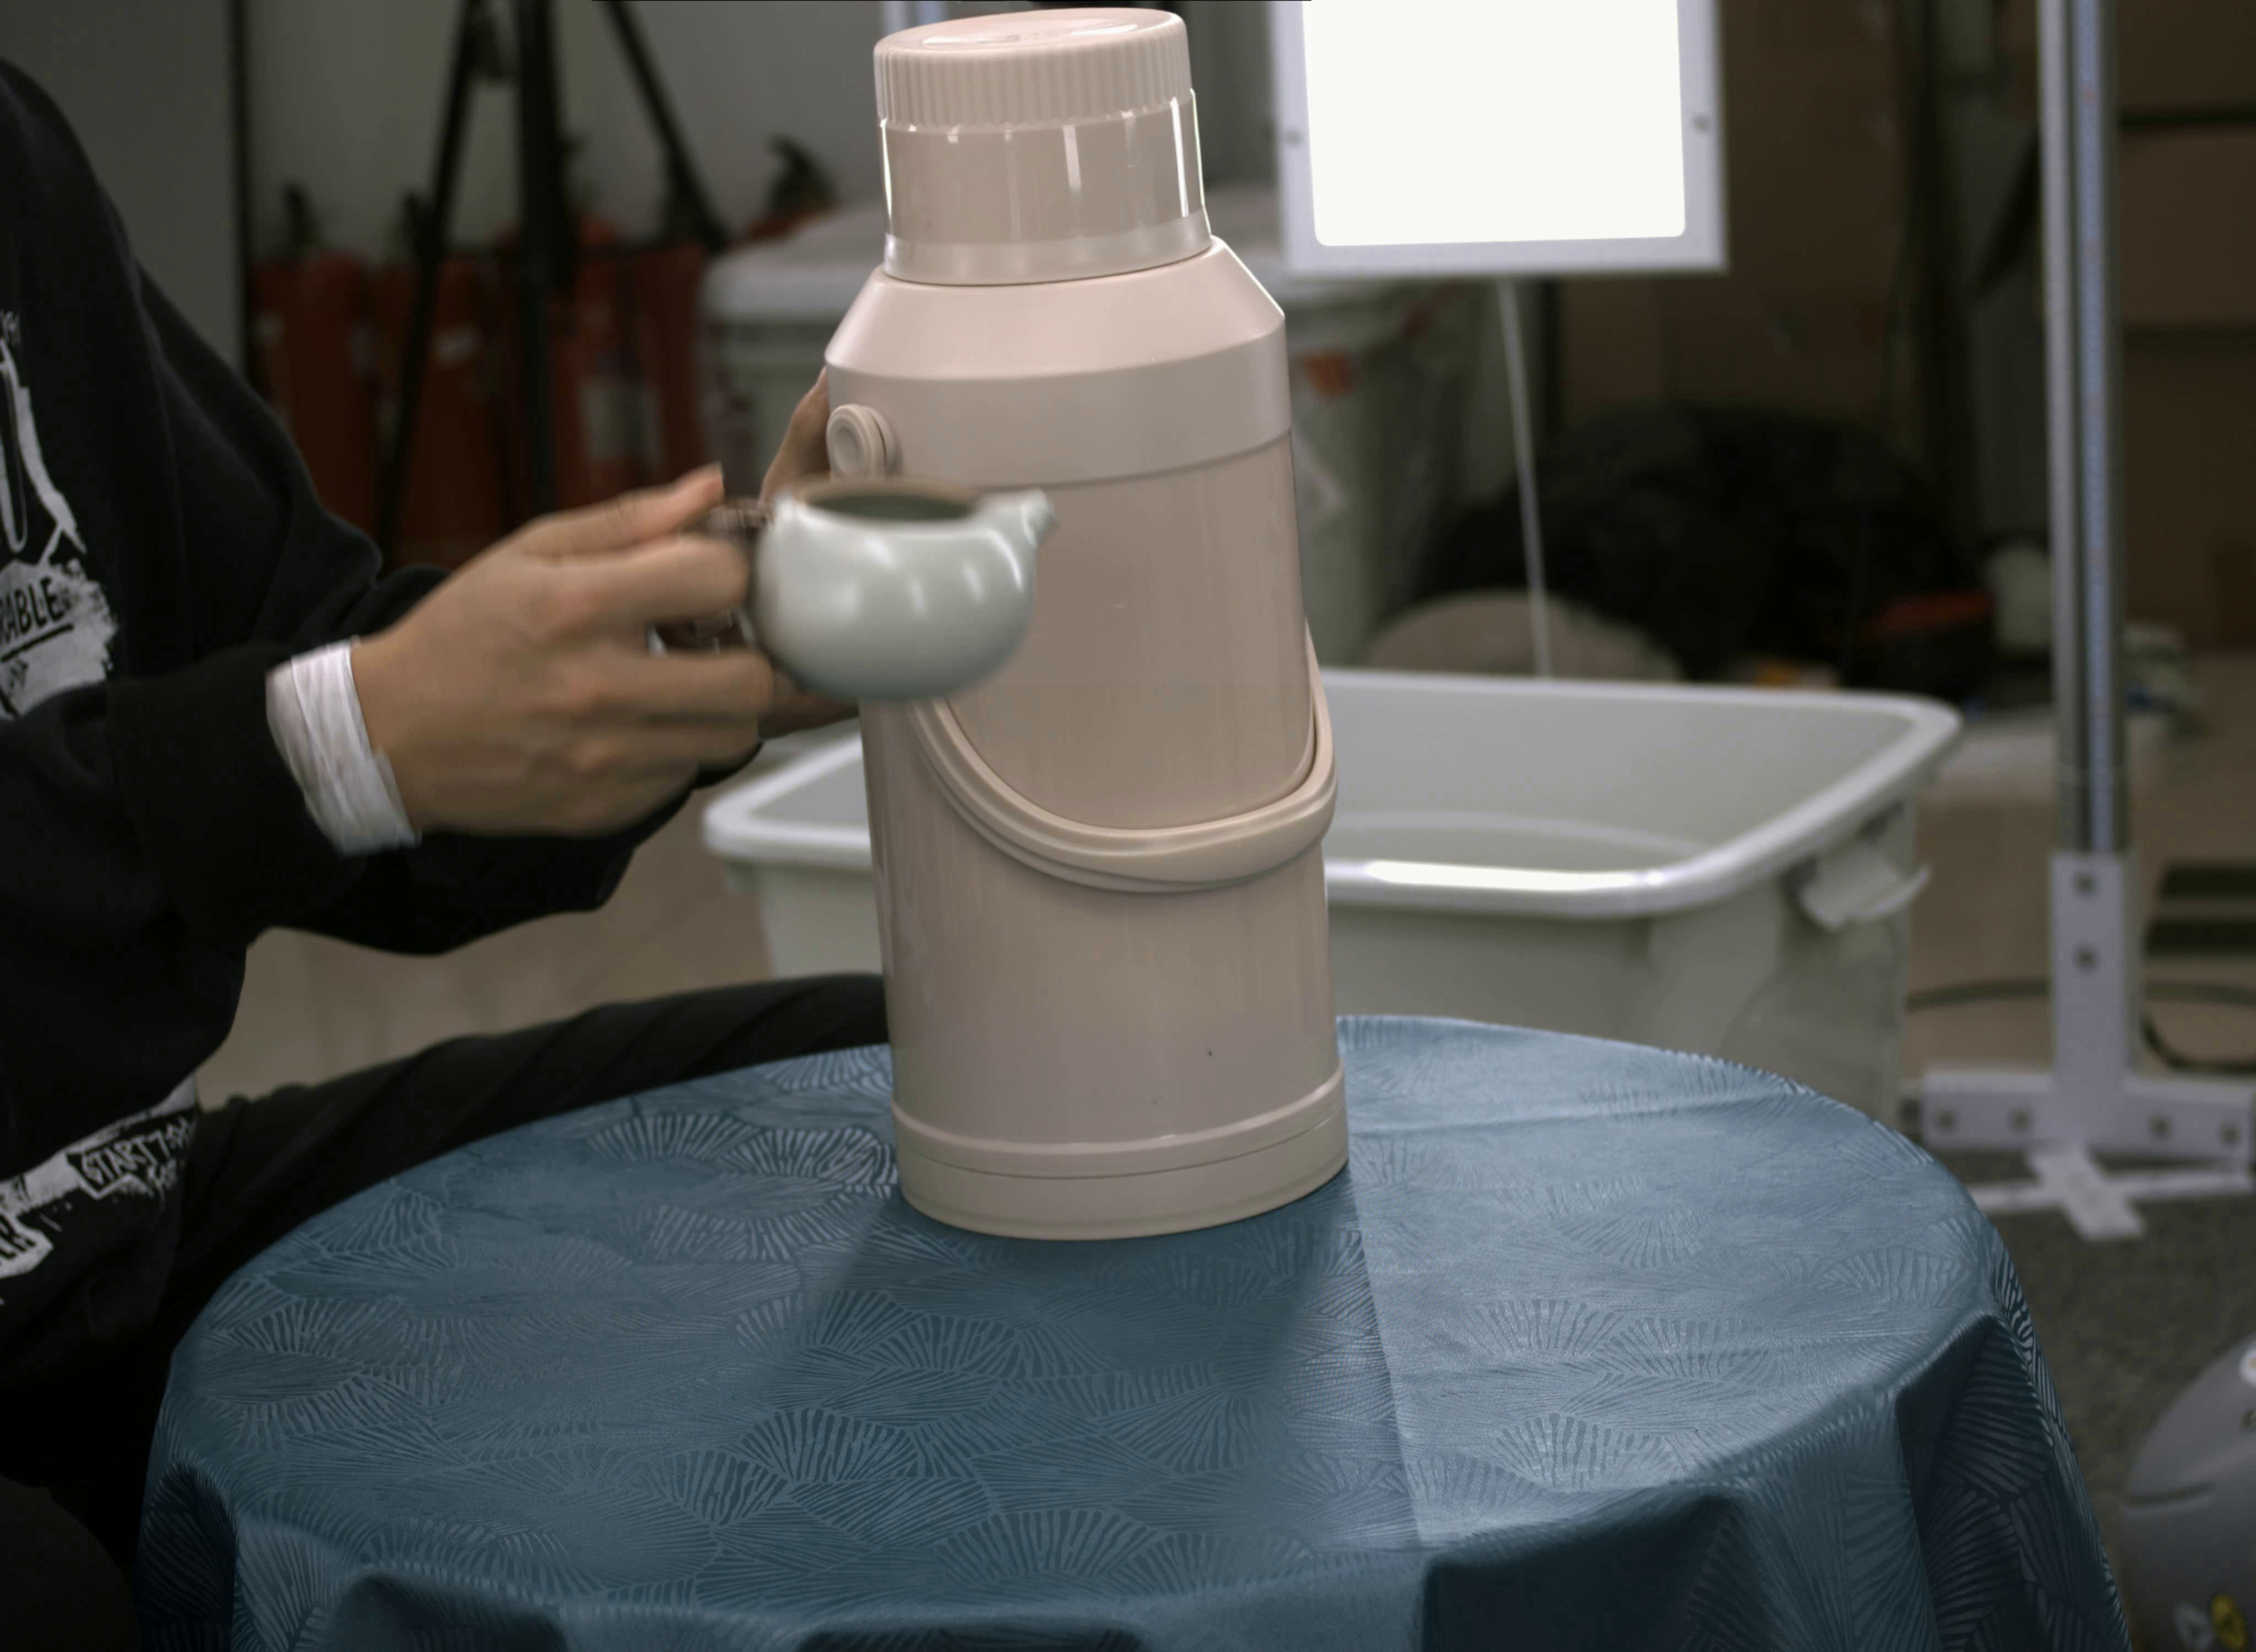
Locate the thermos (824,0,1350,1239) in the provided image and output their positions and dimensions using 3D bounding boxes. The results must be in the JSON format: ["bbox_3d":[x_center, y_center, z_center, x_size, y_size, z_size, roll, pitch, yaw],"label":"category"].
[{"bbox_3d":[-0.024,-0.075,1.889,0.171,0.408,0.211,-17,19,-33],"label":"thermos"}]

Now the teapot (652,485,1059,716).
[{"bbox_3d":[-0.082,-0.068,1.663,0.126,0.060,0.093,-2,20,-20],"label":"teapot"}]
